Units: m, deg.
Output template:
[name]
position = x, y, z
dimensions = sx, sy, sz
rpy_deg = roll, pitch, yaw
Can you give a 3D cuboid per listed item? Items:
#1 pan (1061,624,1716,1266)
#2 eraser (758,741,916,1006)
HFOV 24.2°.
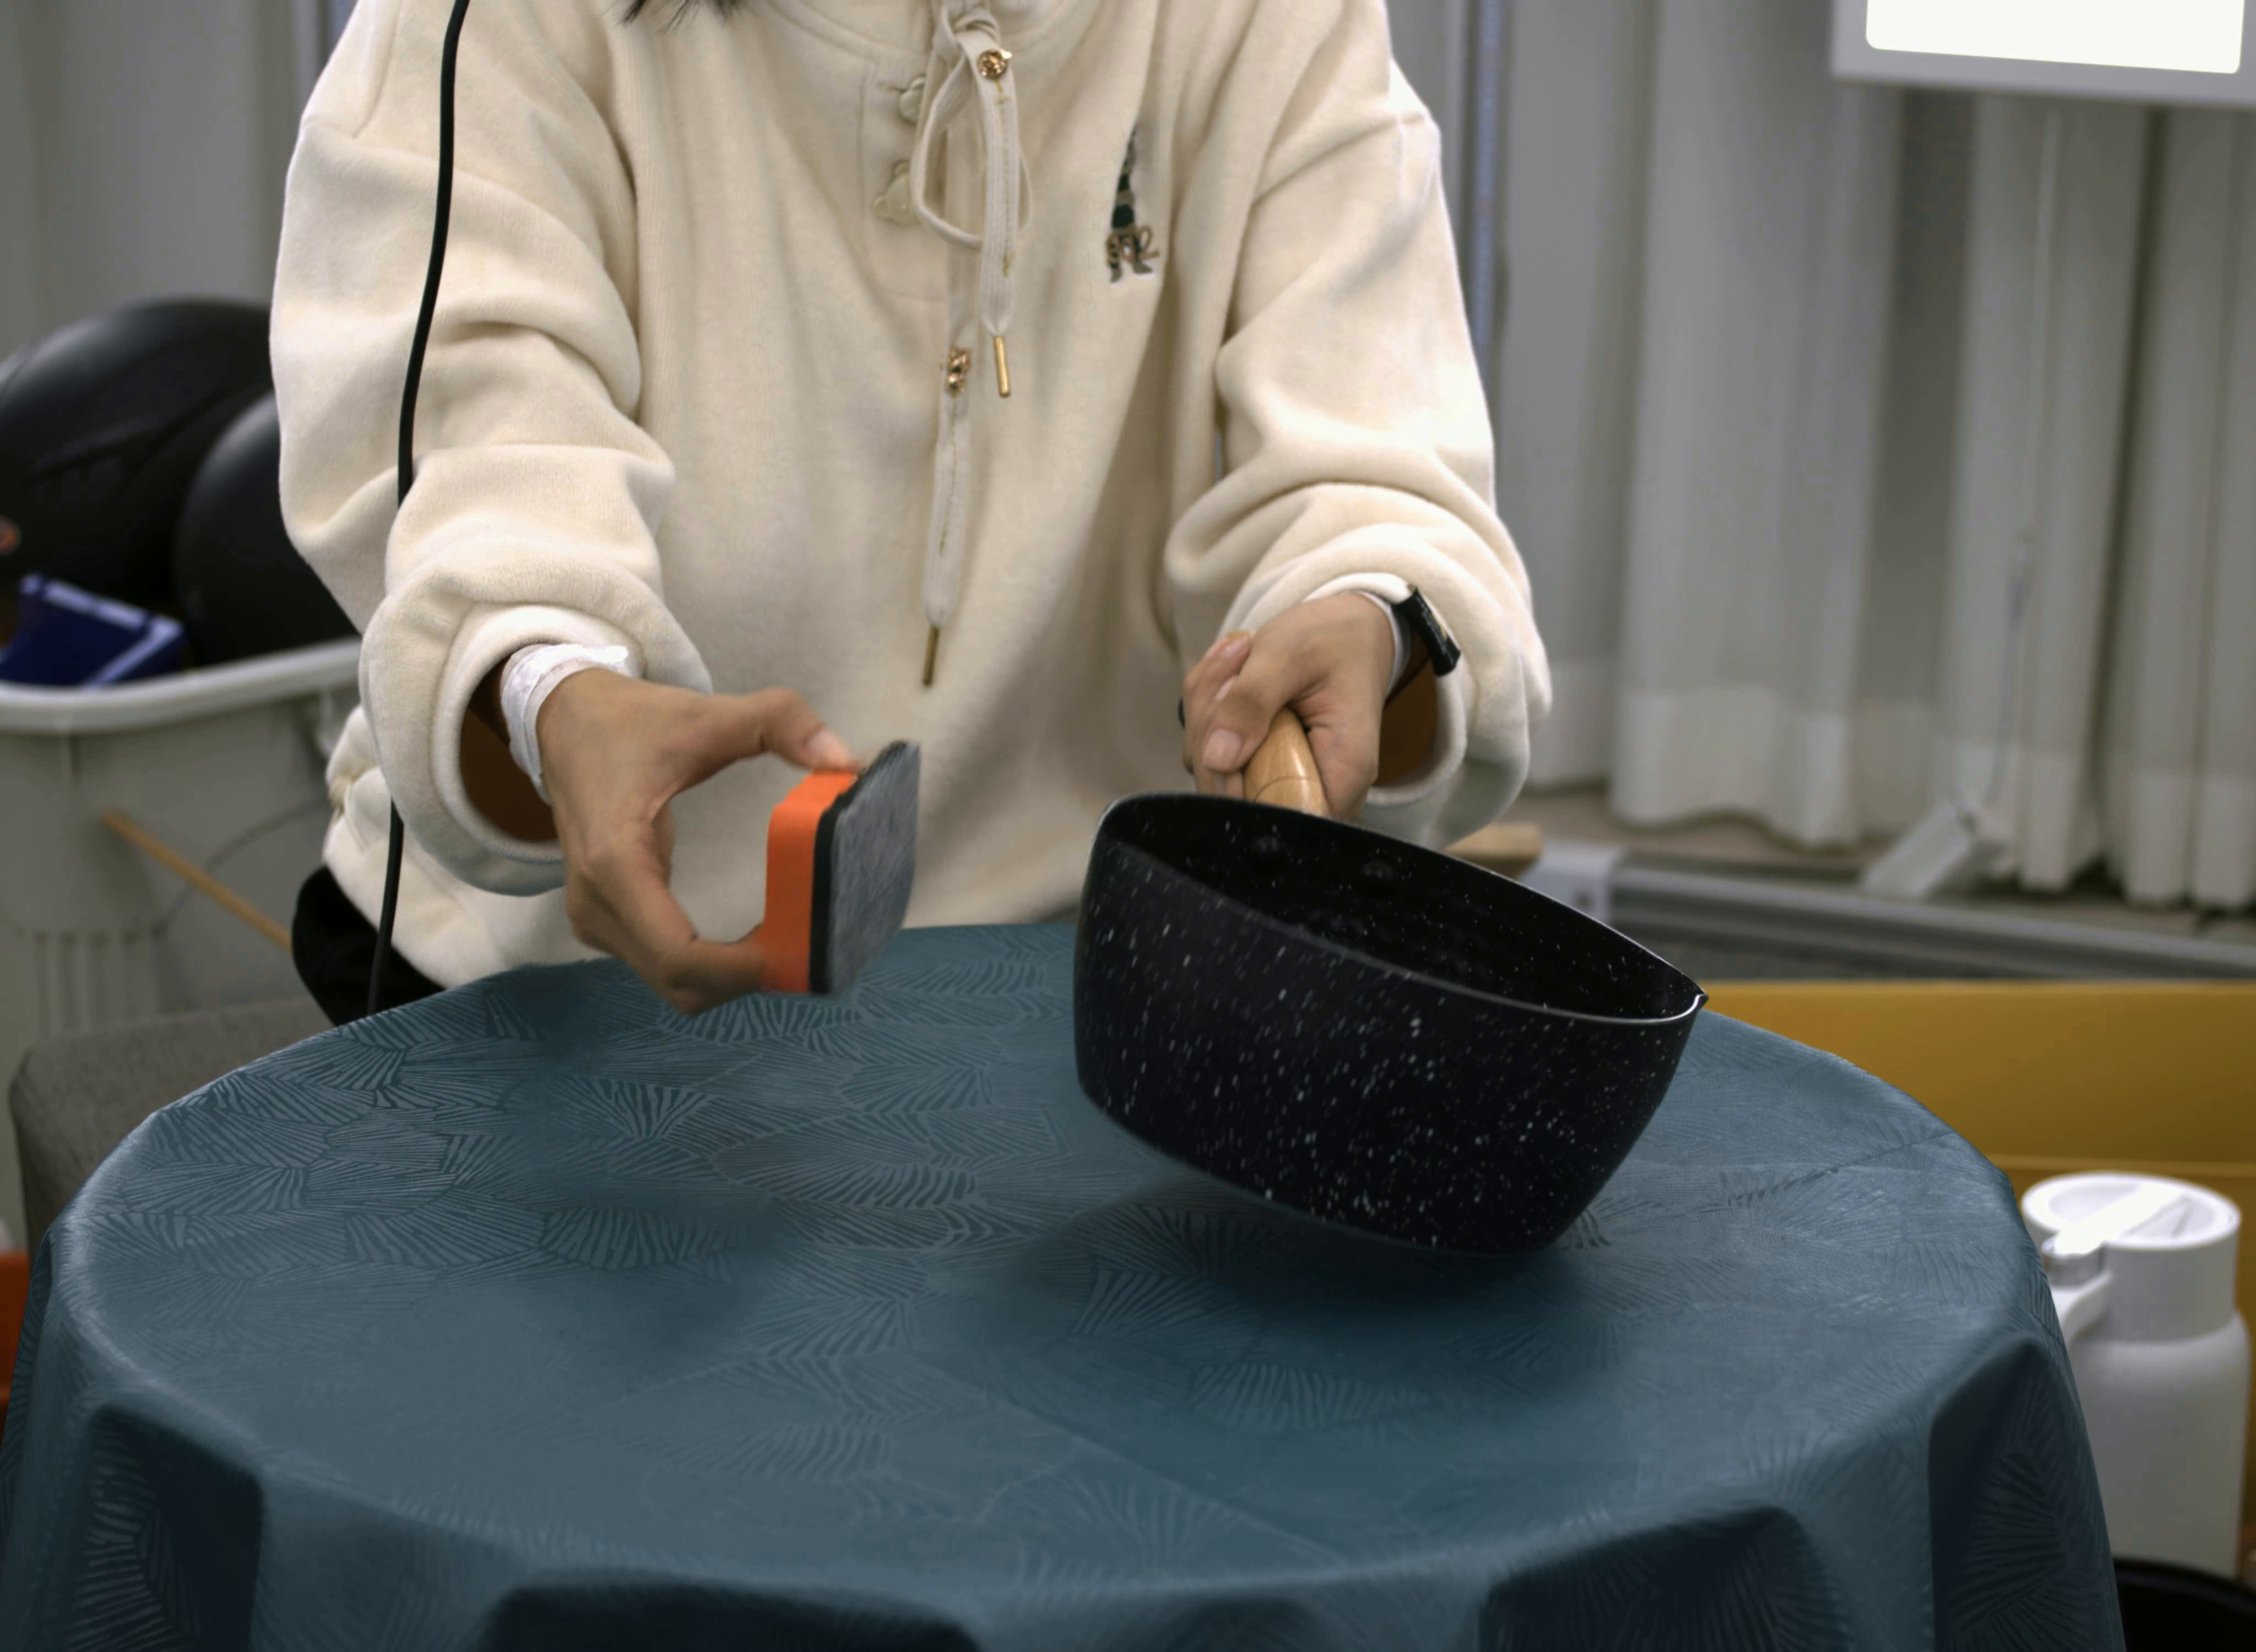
[pan]
position = 0.056, 0.029, 1.639
dimensions = 0.208, 0.109, 0.339
rpy_deg = 14, 14, -17
[eraser]
position = -0.087, 0.013, 1.580
dimensions = 0.023, 0.059, 0.108
rpy_deg = 7, 15, 9
